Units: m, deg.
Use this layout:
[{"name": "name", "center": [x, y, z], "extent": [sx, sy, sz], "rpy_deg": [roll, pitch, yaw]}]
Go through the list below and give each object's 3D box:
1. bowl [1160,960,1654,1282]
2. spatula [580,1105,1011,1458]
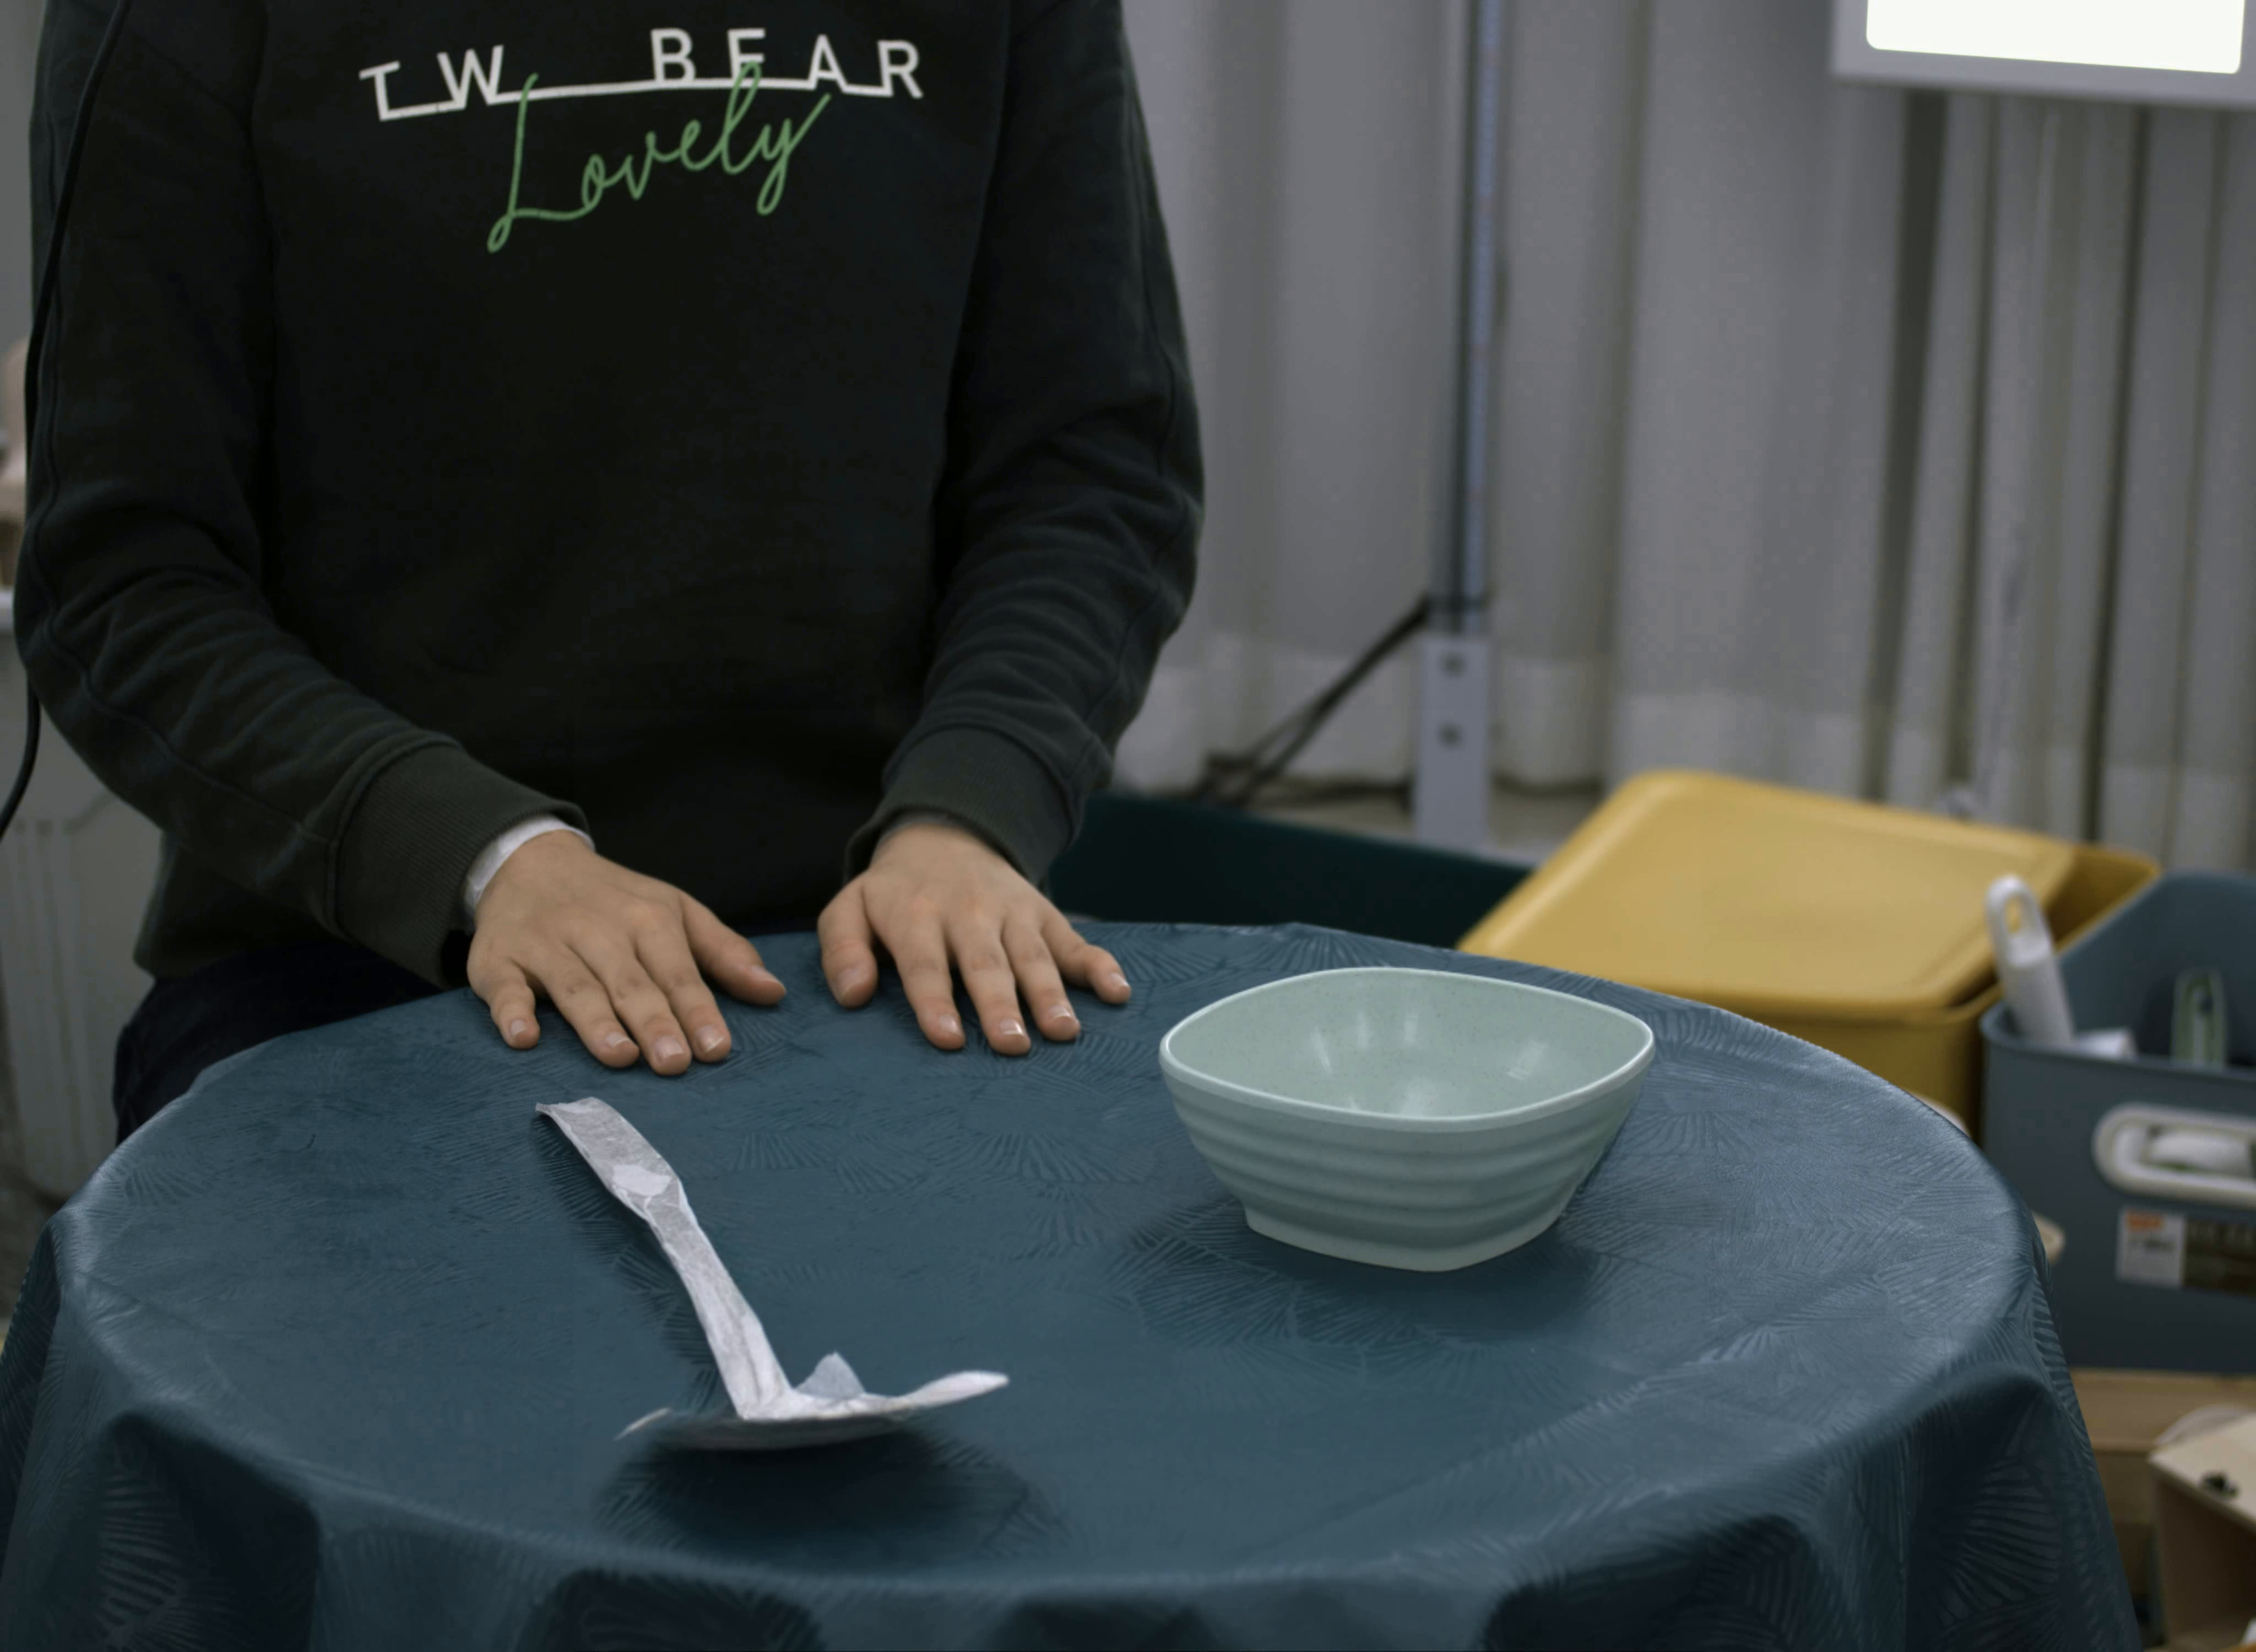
[{"name": "bowl", "center": [0.084, 0.093, 1.599], "extent": [0.151, 0.059, 0.150], "rpy_deg": [2, 18, 0]}, {"name": "spatula", "center": [-0.121, 0.122, 1.518], "extent": [0.099, 0.045, 0.361], "rpy_deg": [-6, 17, -15]}]
